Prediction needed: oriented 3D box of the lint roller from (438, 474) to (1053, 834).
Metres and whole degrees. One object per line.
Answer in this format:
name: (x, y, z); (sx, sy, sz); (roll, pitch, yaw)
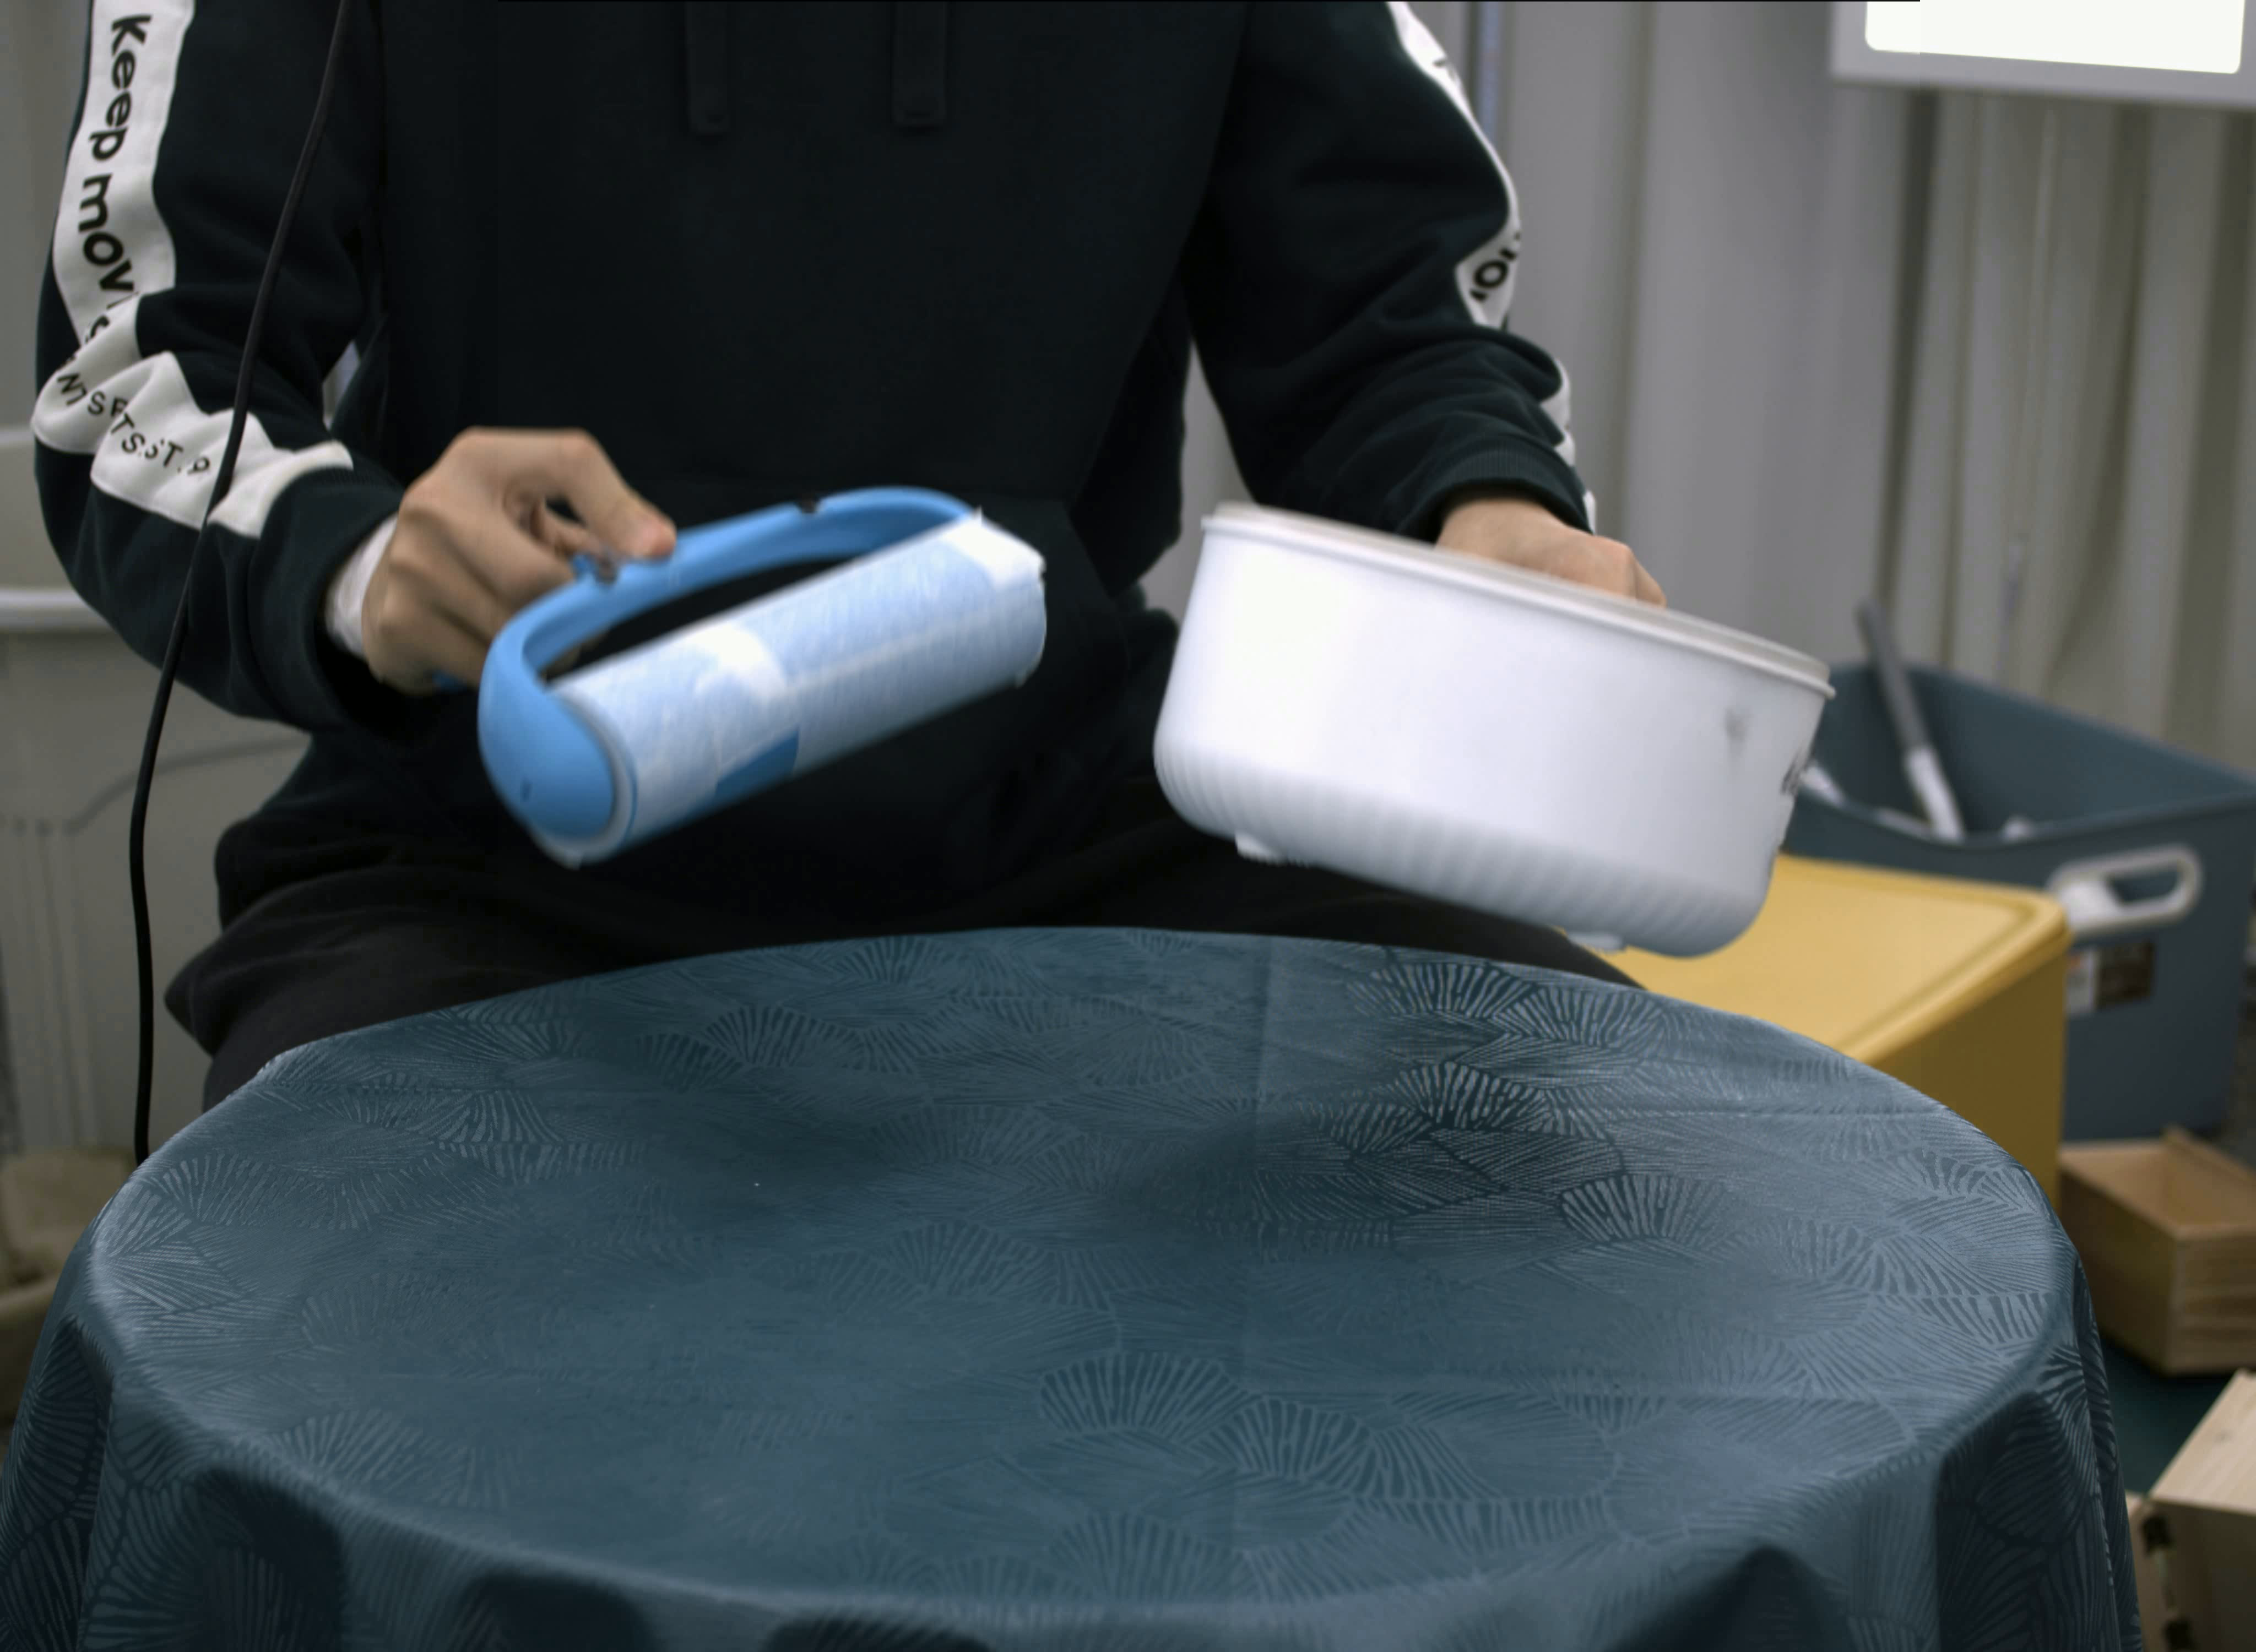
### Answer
lint roller: (-0.151, -0.062, 1.645); (0.178, 0.068, 0.229); (12, 25, 33)

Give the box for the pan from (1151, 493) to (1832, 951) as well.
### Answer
pan: (0.116, -0.023, 1.688); (0.200, 0.102, 0.356); (15, -1, 7)
